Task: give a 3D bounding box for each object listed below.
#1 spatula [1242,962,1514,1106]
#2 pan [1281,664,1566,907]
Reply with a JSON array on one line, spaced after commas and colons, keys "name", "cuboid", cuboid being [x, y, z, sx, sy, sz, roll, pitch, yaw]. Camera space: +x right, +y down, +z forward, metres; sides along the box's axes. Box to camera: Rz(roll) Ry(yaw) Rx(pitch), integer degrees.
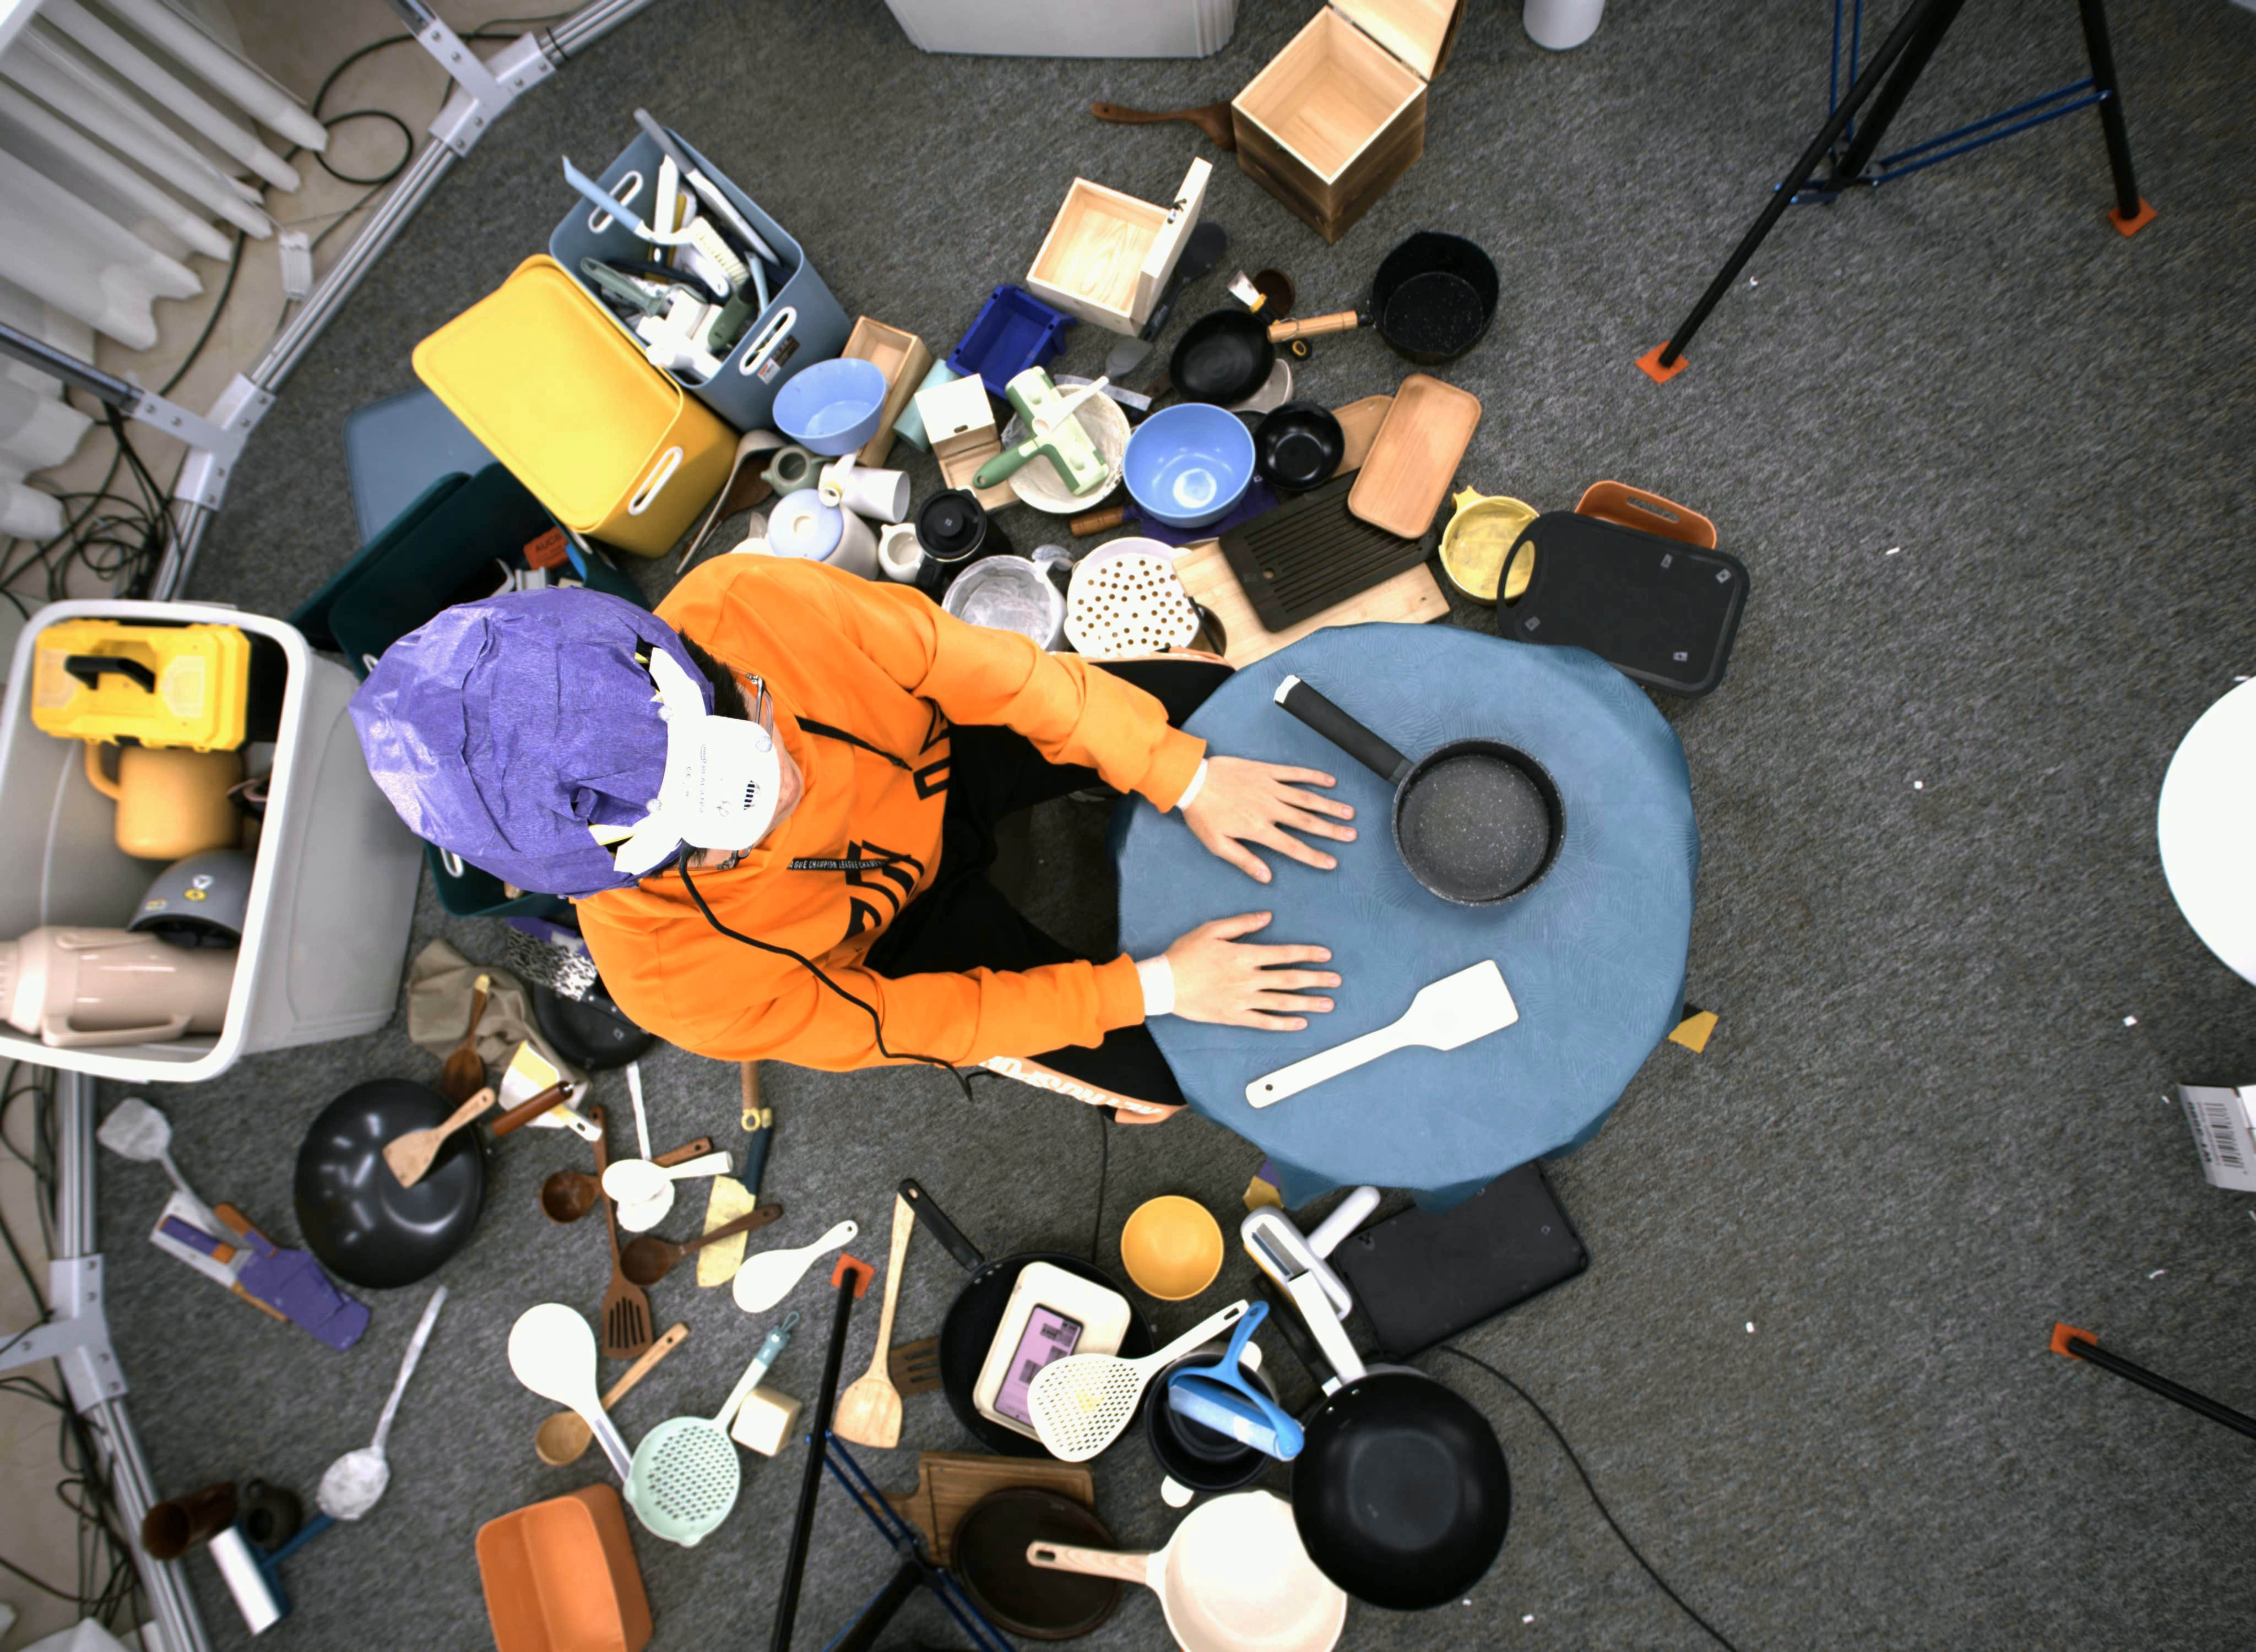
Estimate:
[{"name": "spatula", "cuboid": [0.257, 0.228, 1.449, 0.295, 0.010, 0.072, -24, 86, 8]}, {"name": "pan", "cuboid": [0.294, -0.051, 1.419, 0.328, 0.086, 0.172, 38, 93, 9]}]
